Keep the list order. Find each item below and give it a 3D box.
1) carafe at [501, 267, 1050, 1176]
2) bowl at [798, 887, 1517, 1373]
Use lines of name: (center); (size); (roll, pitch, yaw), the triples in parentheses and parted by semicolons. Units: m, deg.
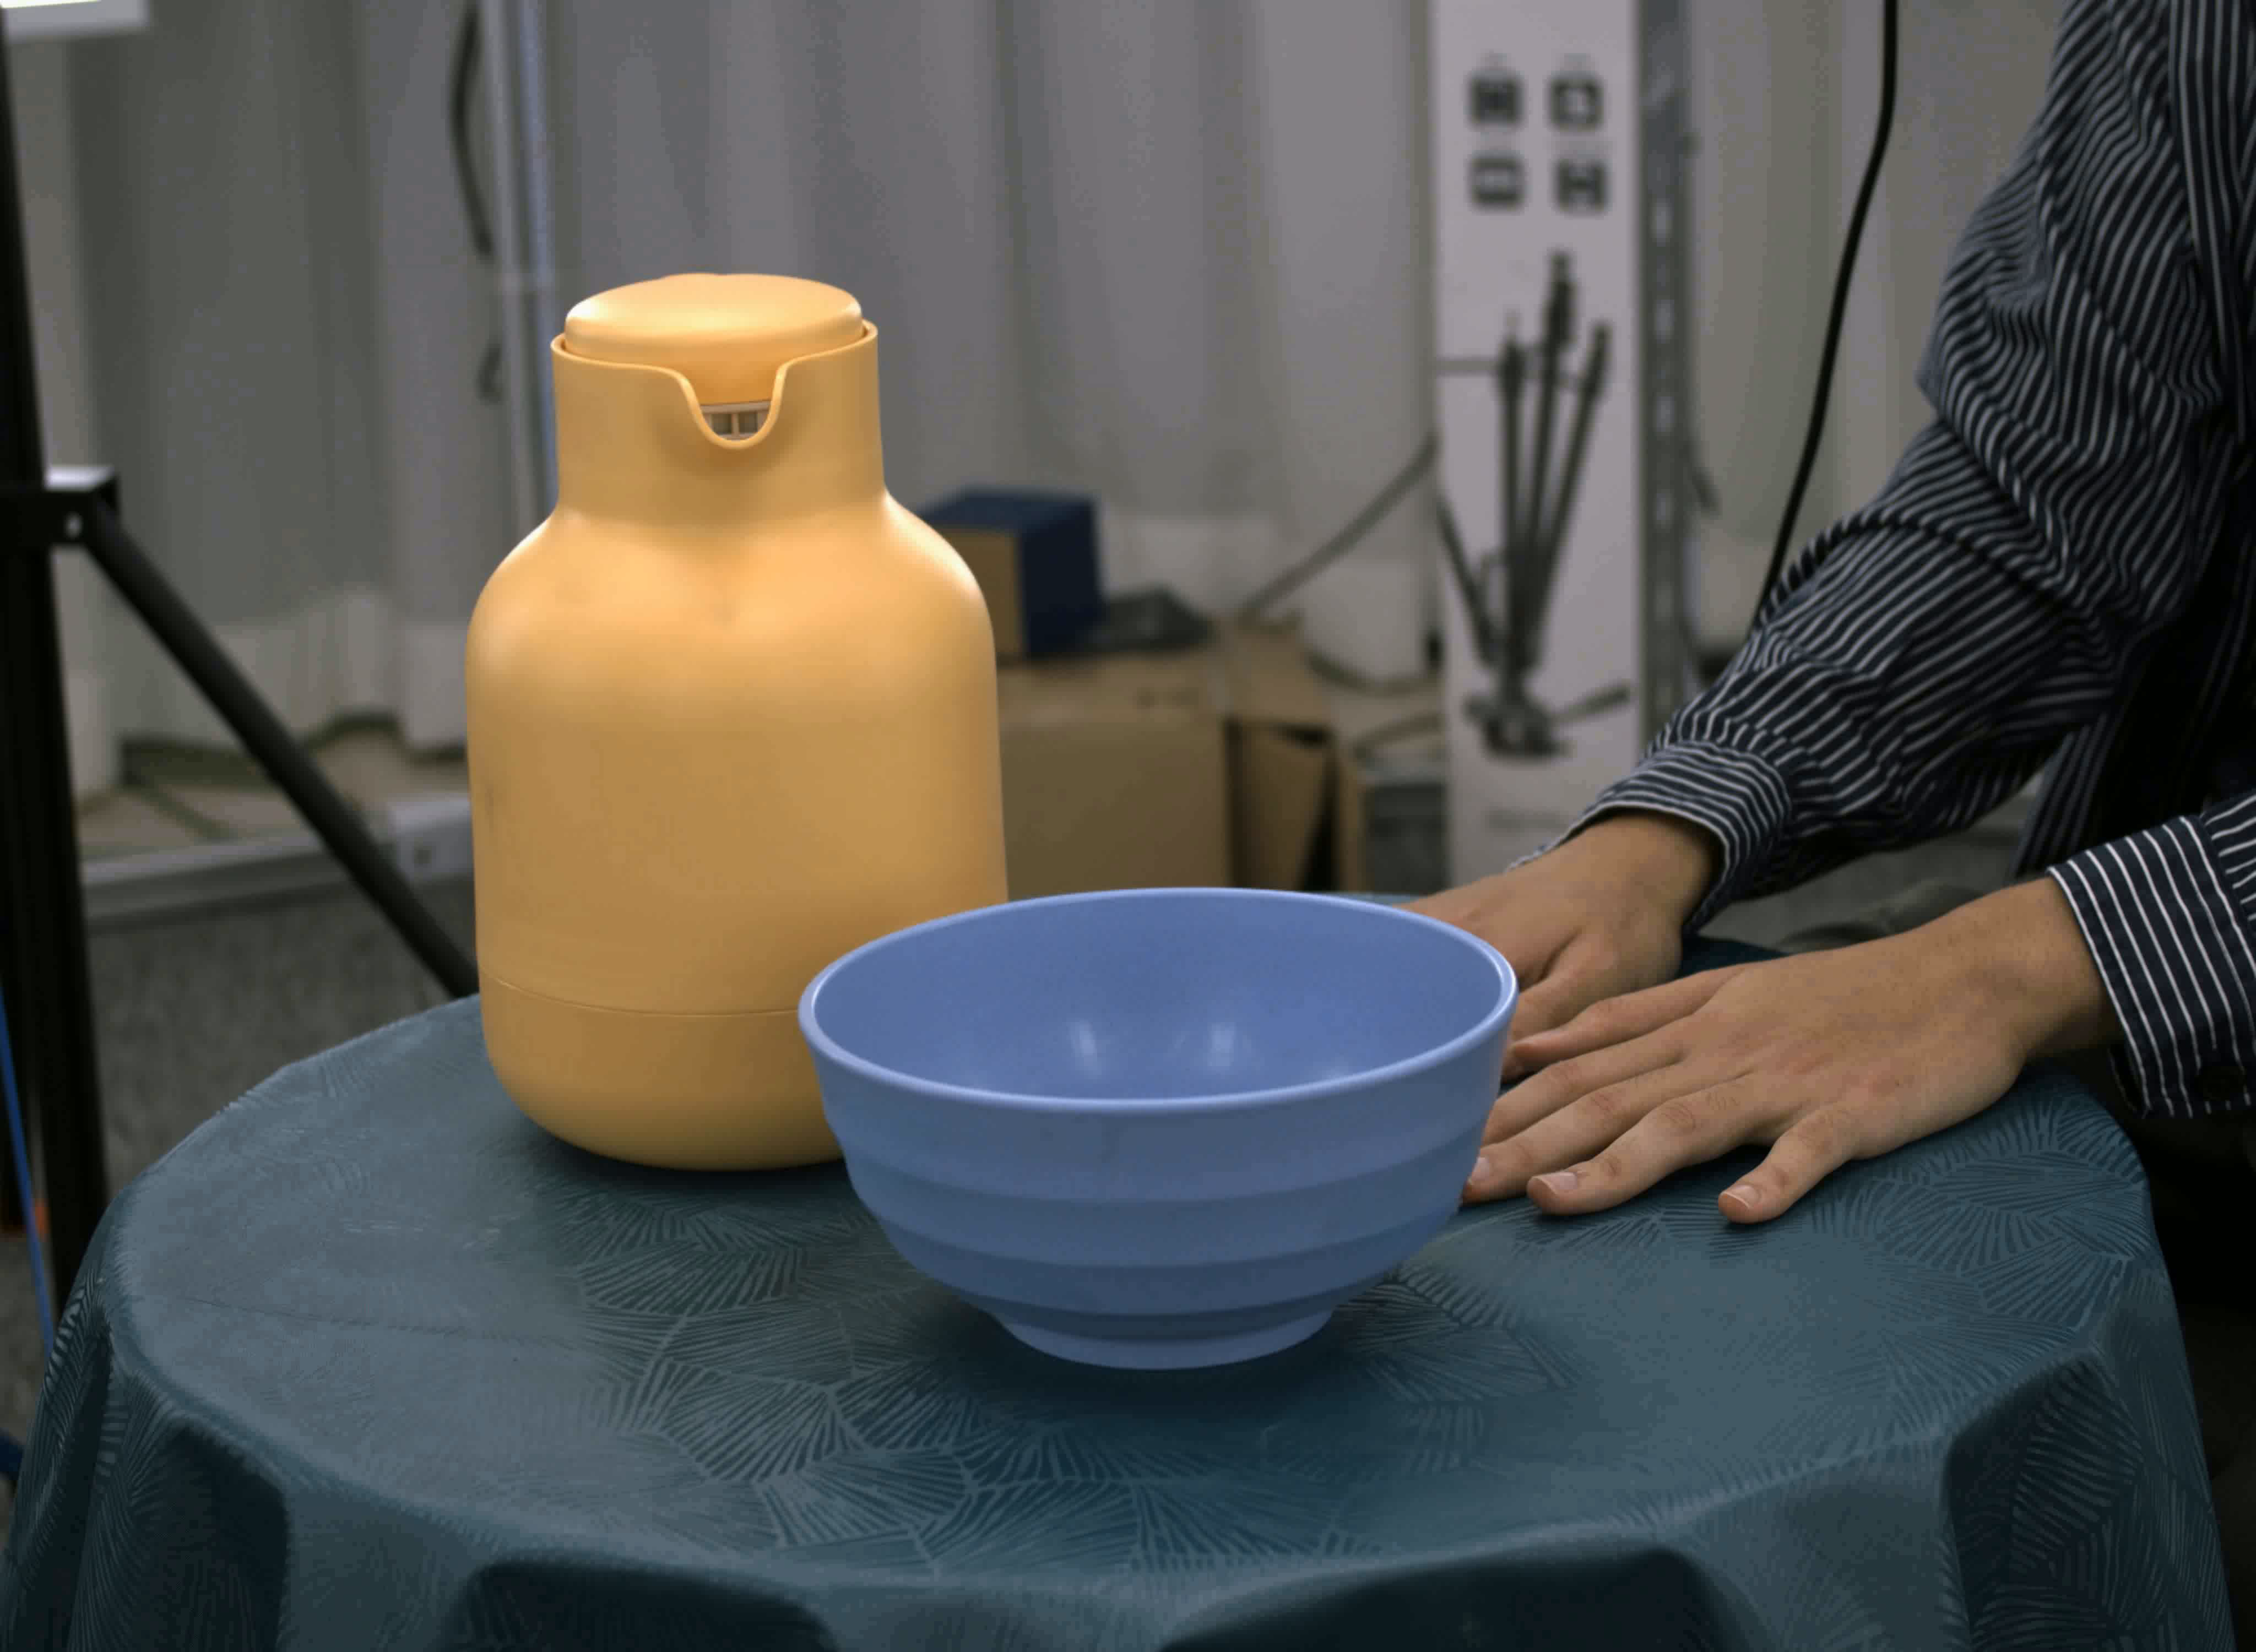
carafe: (-0.109, -0.040, 1.624); (0.162, 0.260, 0.204); (-4, 15, -8)
bowl: (0.010, 0.089, 1.456); (0.195, 0.095, 0.197); (-3, 16, -1)
